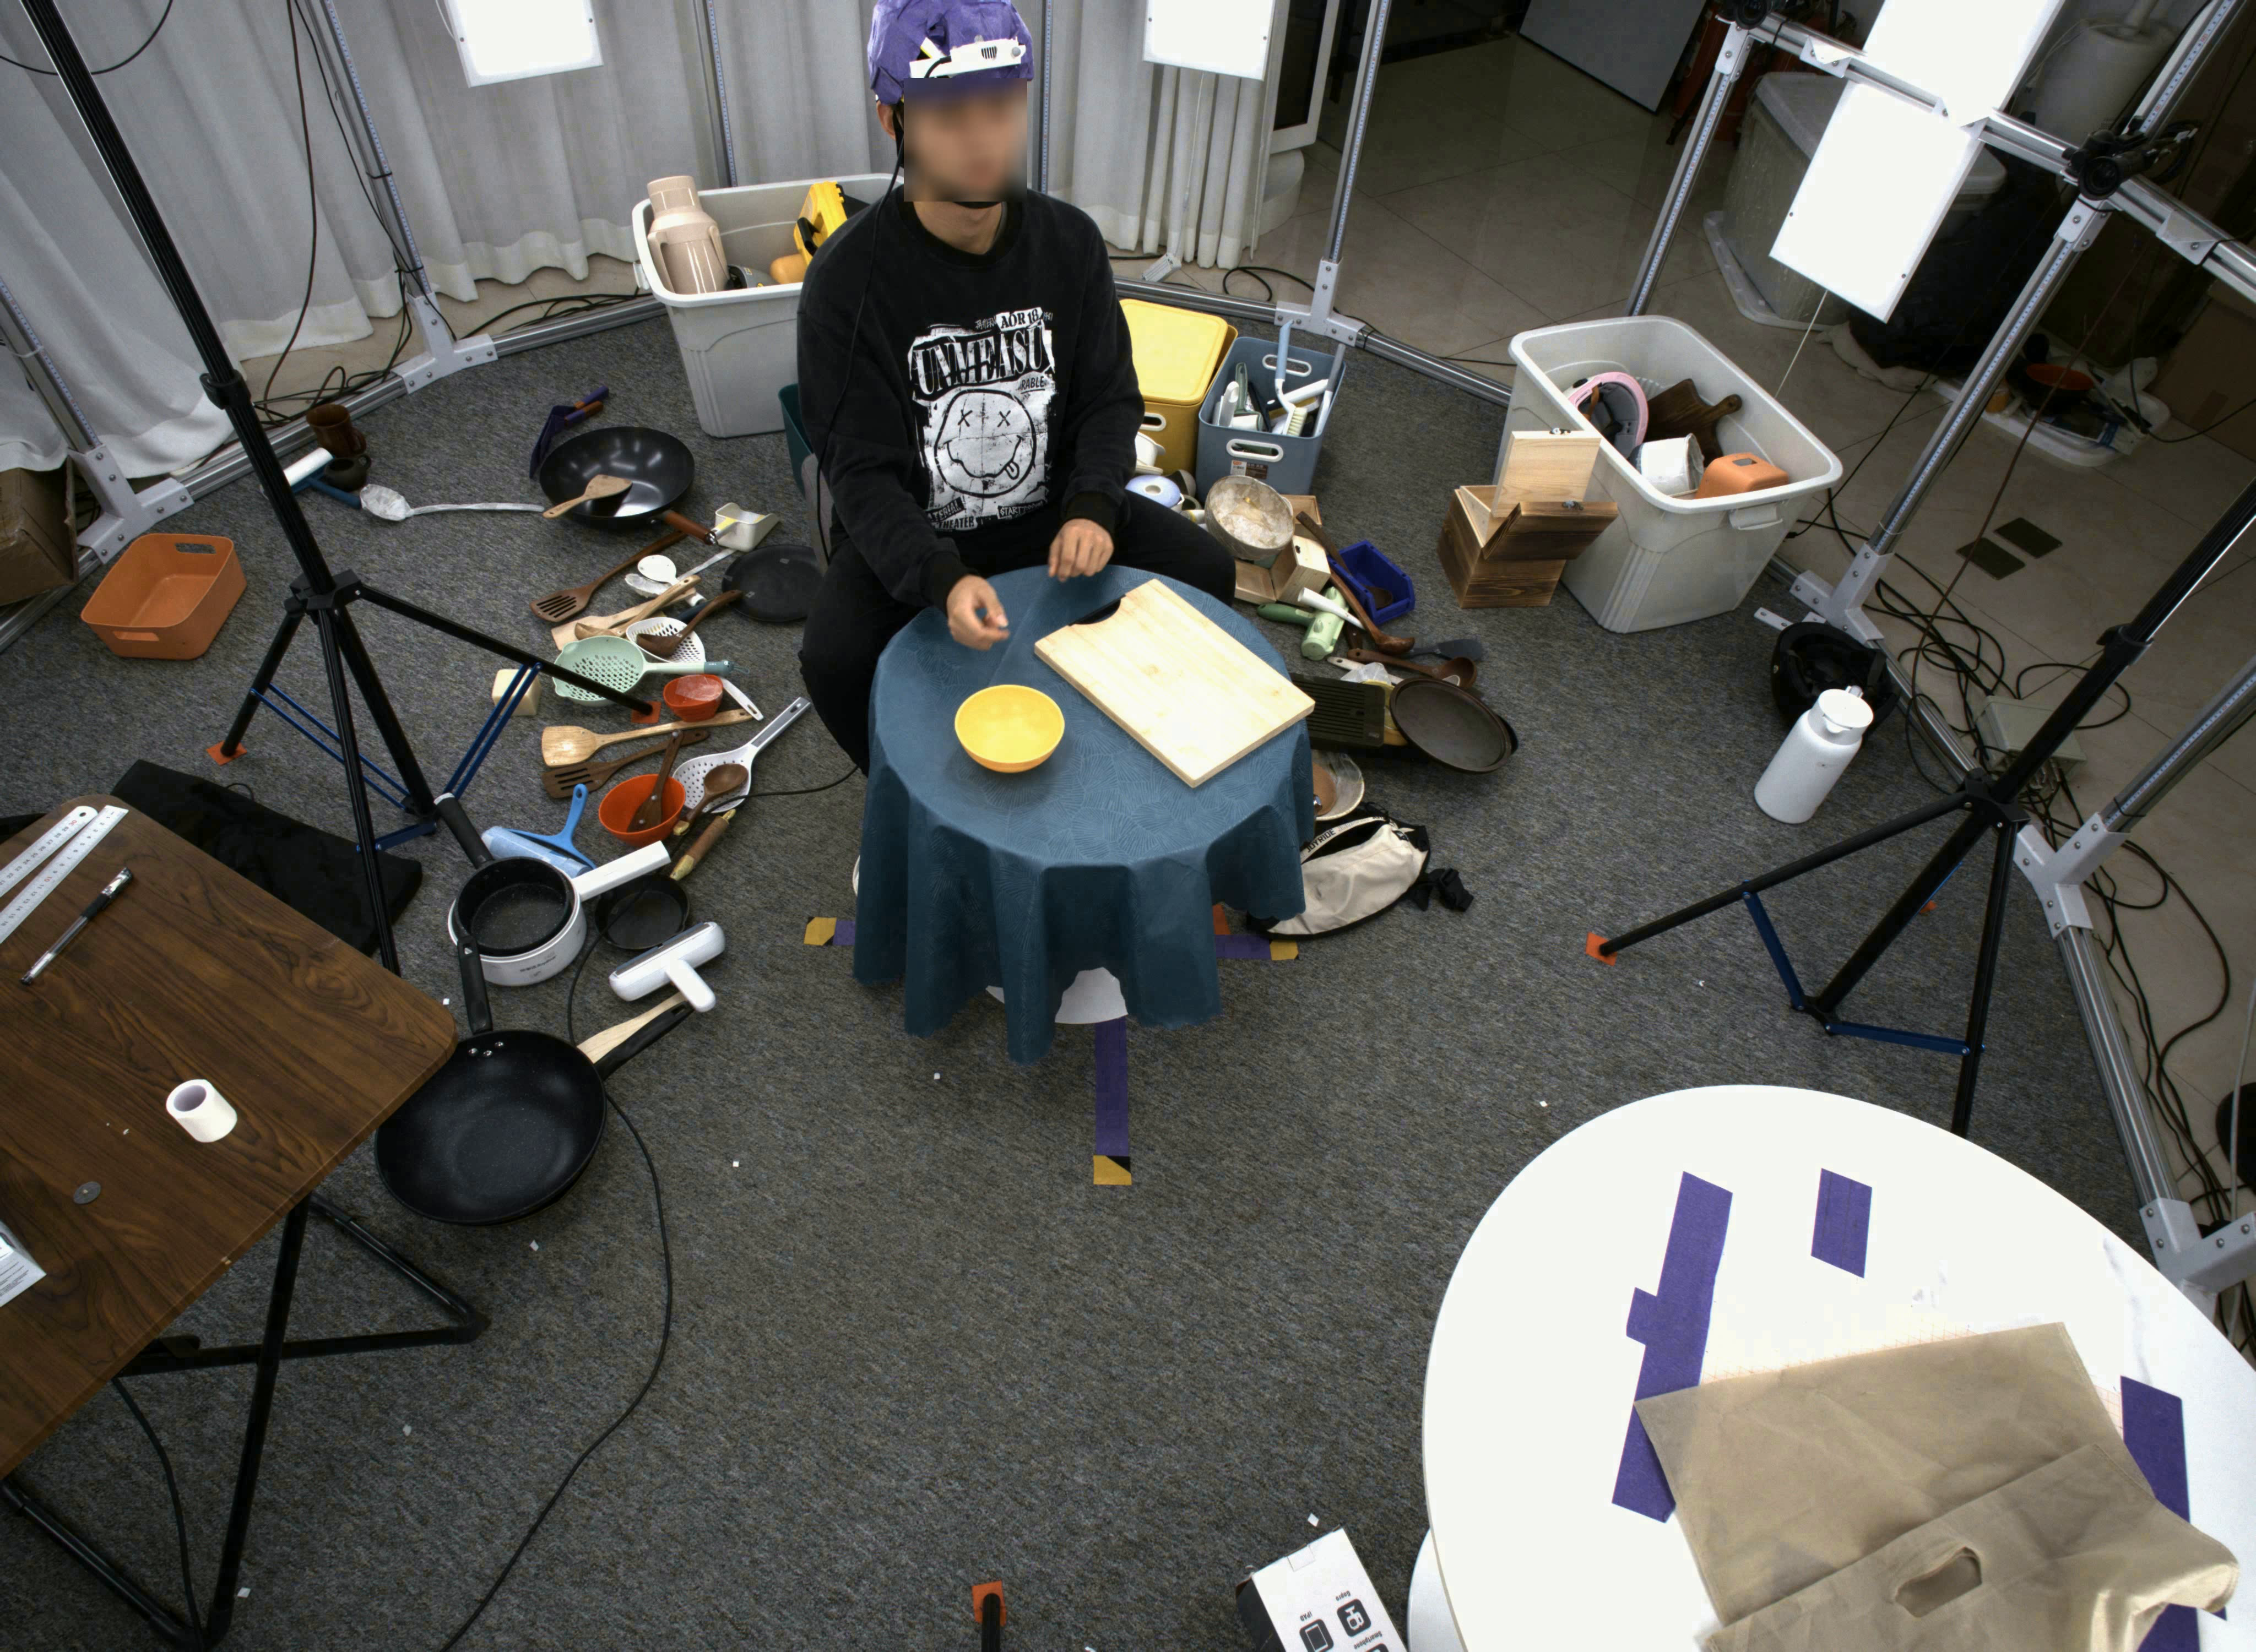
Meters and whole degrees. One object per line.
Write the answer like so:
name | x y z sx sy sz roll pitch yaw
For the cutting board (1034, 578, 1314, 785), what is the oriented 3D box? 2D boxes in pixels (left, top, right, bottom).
cutting board | 0.063 -0.218 1.868 0.252 0.023 0.354 -33 58 -28

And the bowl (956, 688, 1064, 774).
bowl | -0.160 -0.116 1.738 0.145 0.058 0.149 4 47 -4
